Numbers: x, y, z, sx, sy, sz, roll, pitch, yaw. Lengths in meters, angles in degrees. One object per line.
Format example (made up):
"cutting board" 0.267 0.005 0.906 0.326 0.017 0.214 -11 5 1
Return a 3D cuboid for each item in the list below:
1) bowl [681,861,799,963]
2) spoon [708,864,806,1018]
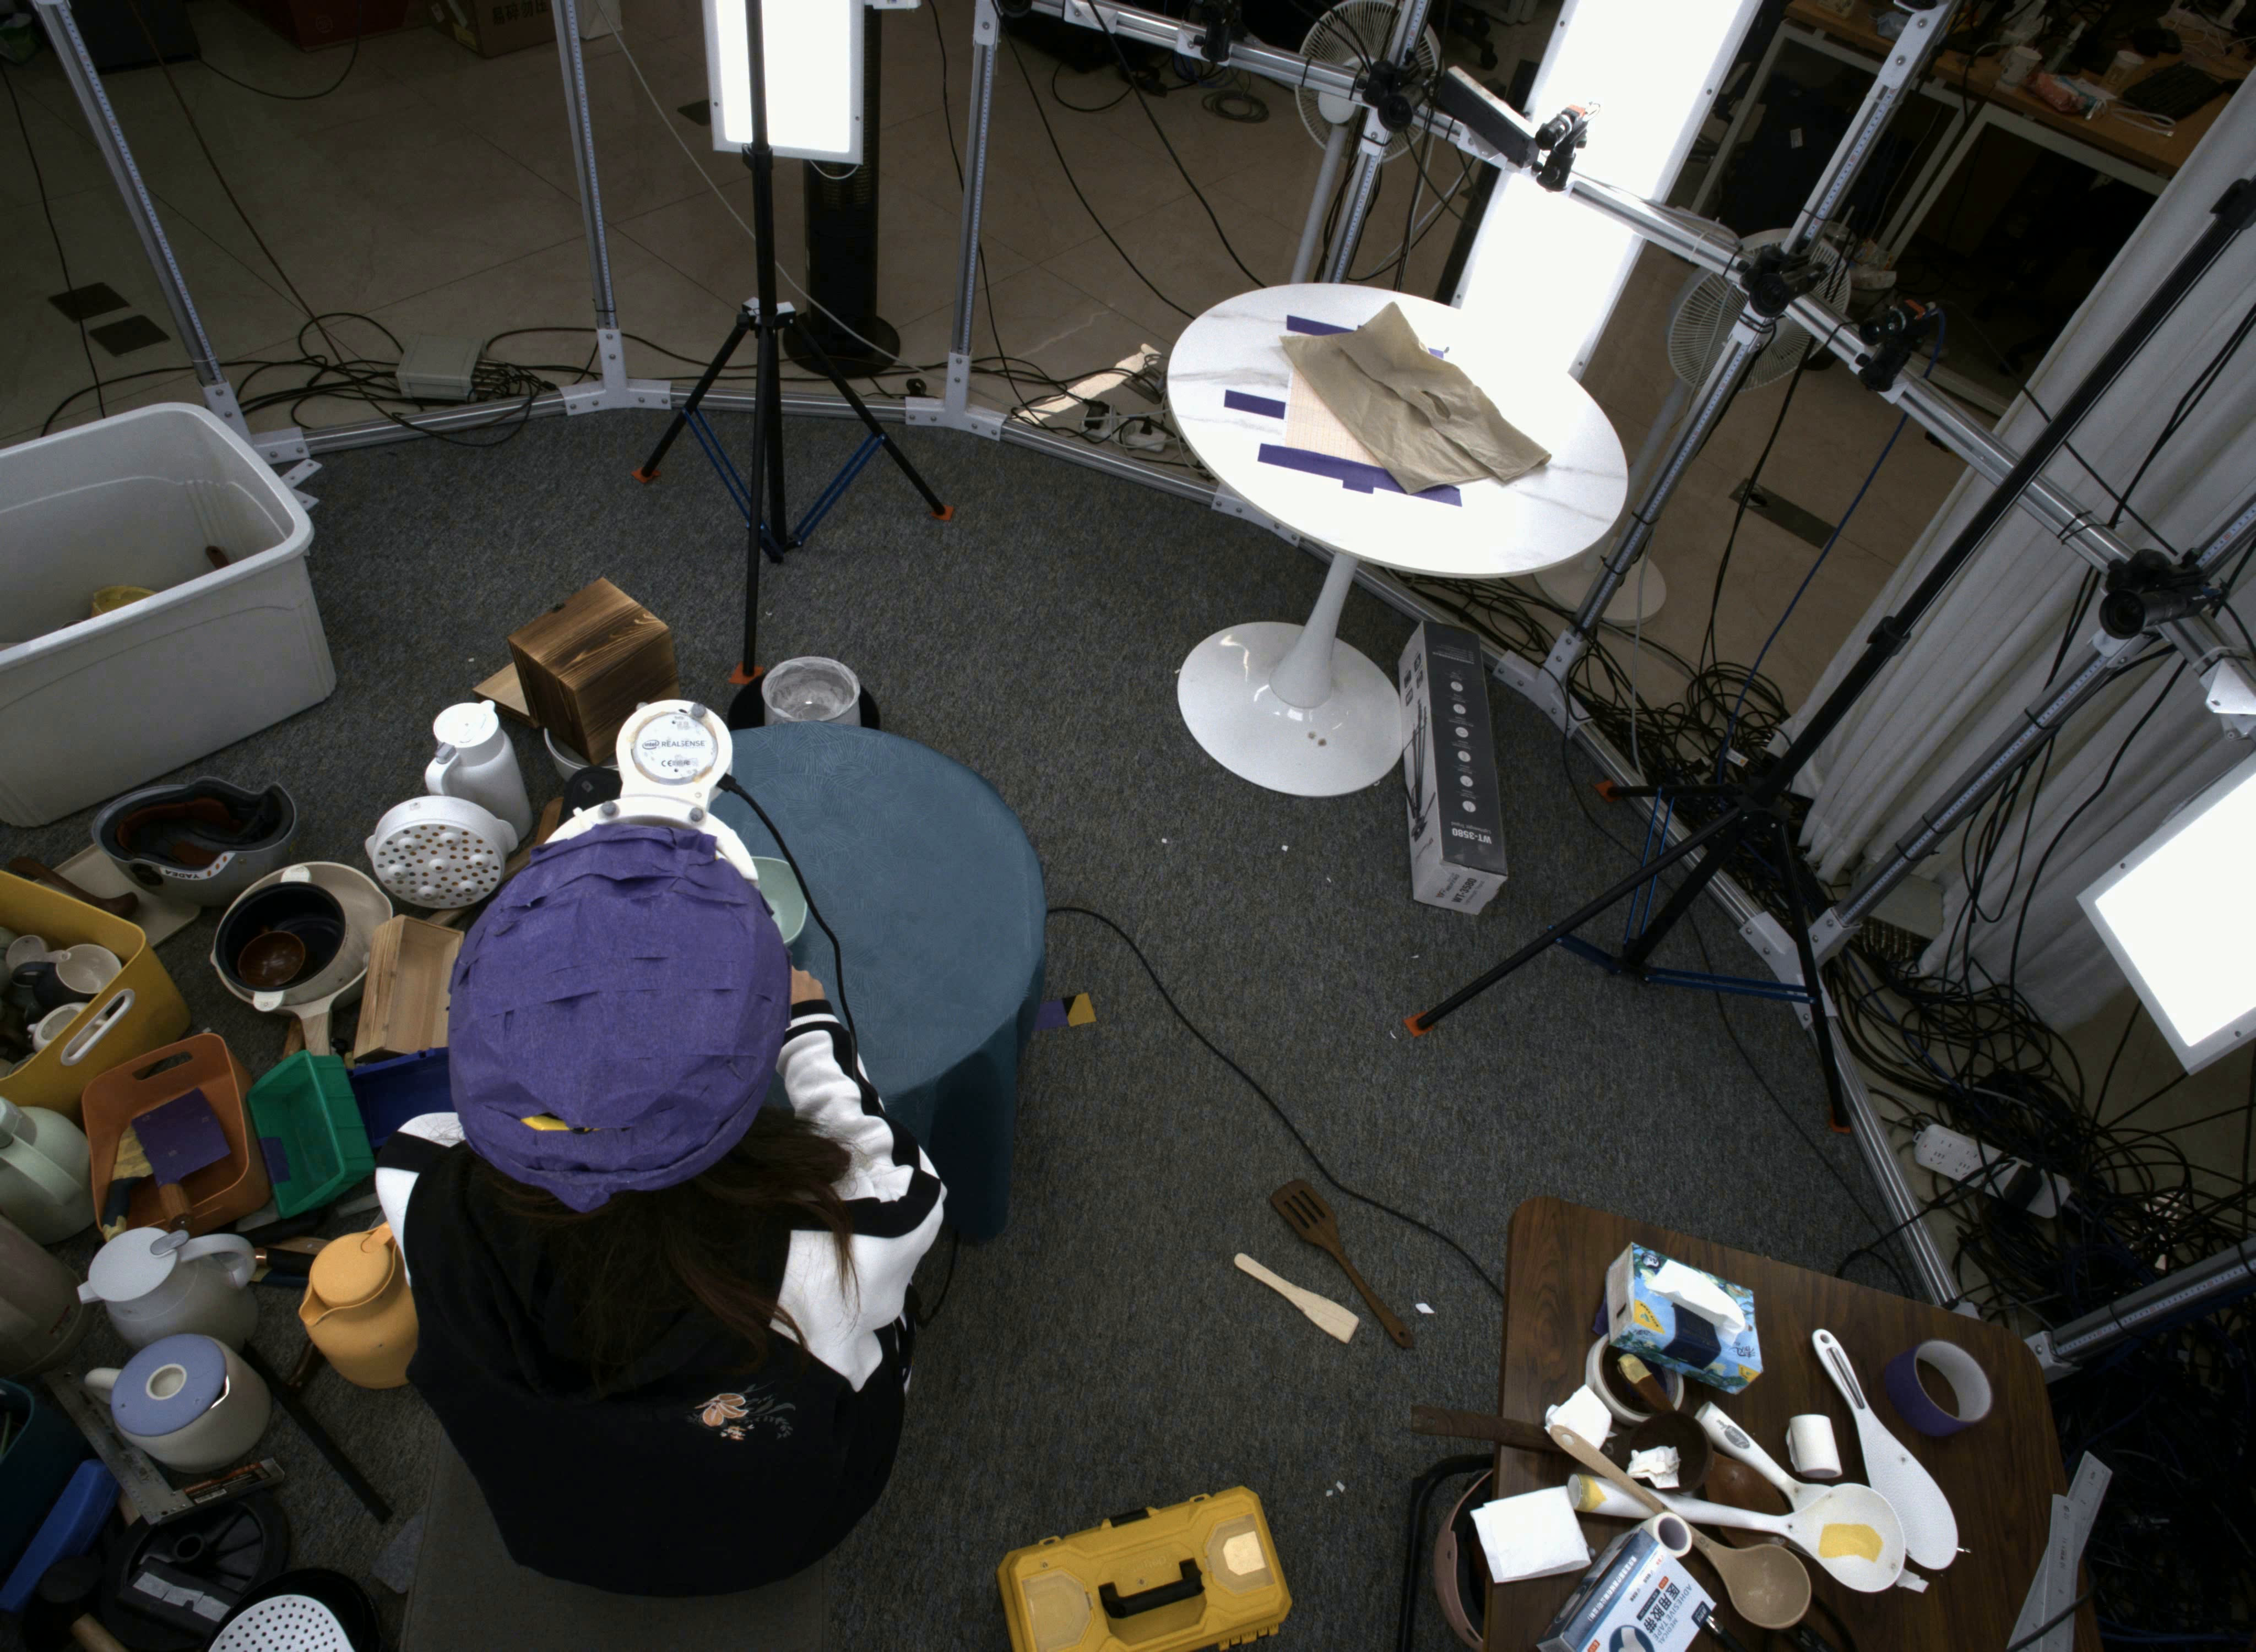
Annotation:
"bowl" -0.474 0.114 1.586 0.151 0.060 0.149 8 52 -9
"spoon" -0.423 0.129 1.505 0.059 0.104 0.267 -35 47 -26
